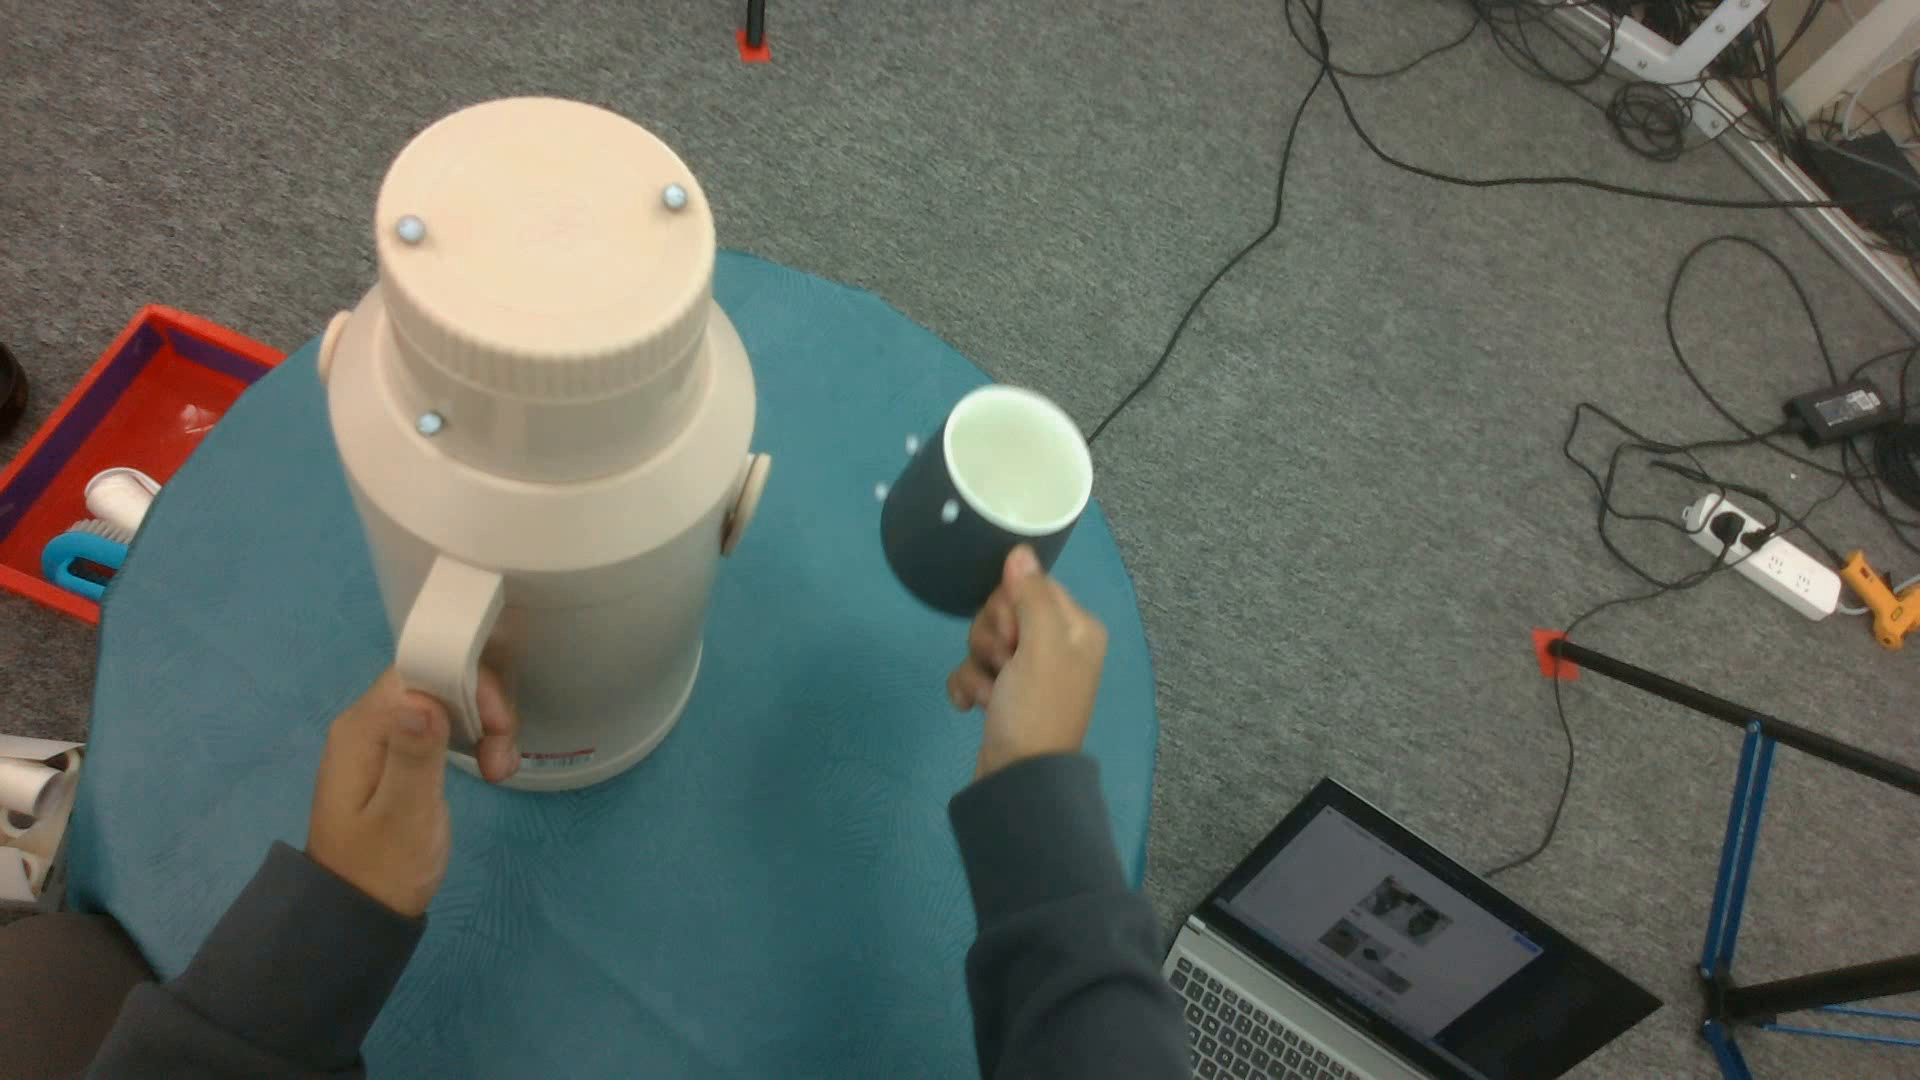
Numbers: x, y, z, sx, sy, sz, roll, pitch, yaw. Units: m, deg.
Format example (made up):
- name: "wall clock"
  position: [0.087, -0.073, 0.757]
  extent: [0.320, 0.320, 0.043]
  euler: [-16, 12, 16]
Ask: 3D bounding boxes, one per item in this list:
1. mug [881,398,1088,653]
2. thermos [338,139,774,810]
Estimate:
- name: "mug"
  position: [0.016, -0.002, 0.706]
  extent: [0.094, 0.089, 0.123]
  euler: [1, 59, -22]
- name: "thermos"
  position: [-0.185, 0.006, 0.626]
  extent: [0.175, 0.404, 0.208]
  euler: [16, 61, -7]
